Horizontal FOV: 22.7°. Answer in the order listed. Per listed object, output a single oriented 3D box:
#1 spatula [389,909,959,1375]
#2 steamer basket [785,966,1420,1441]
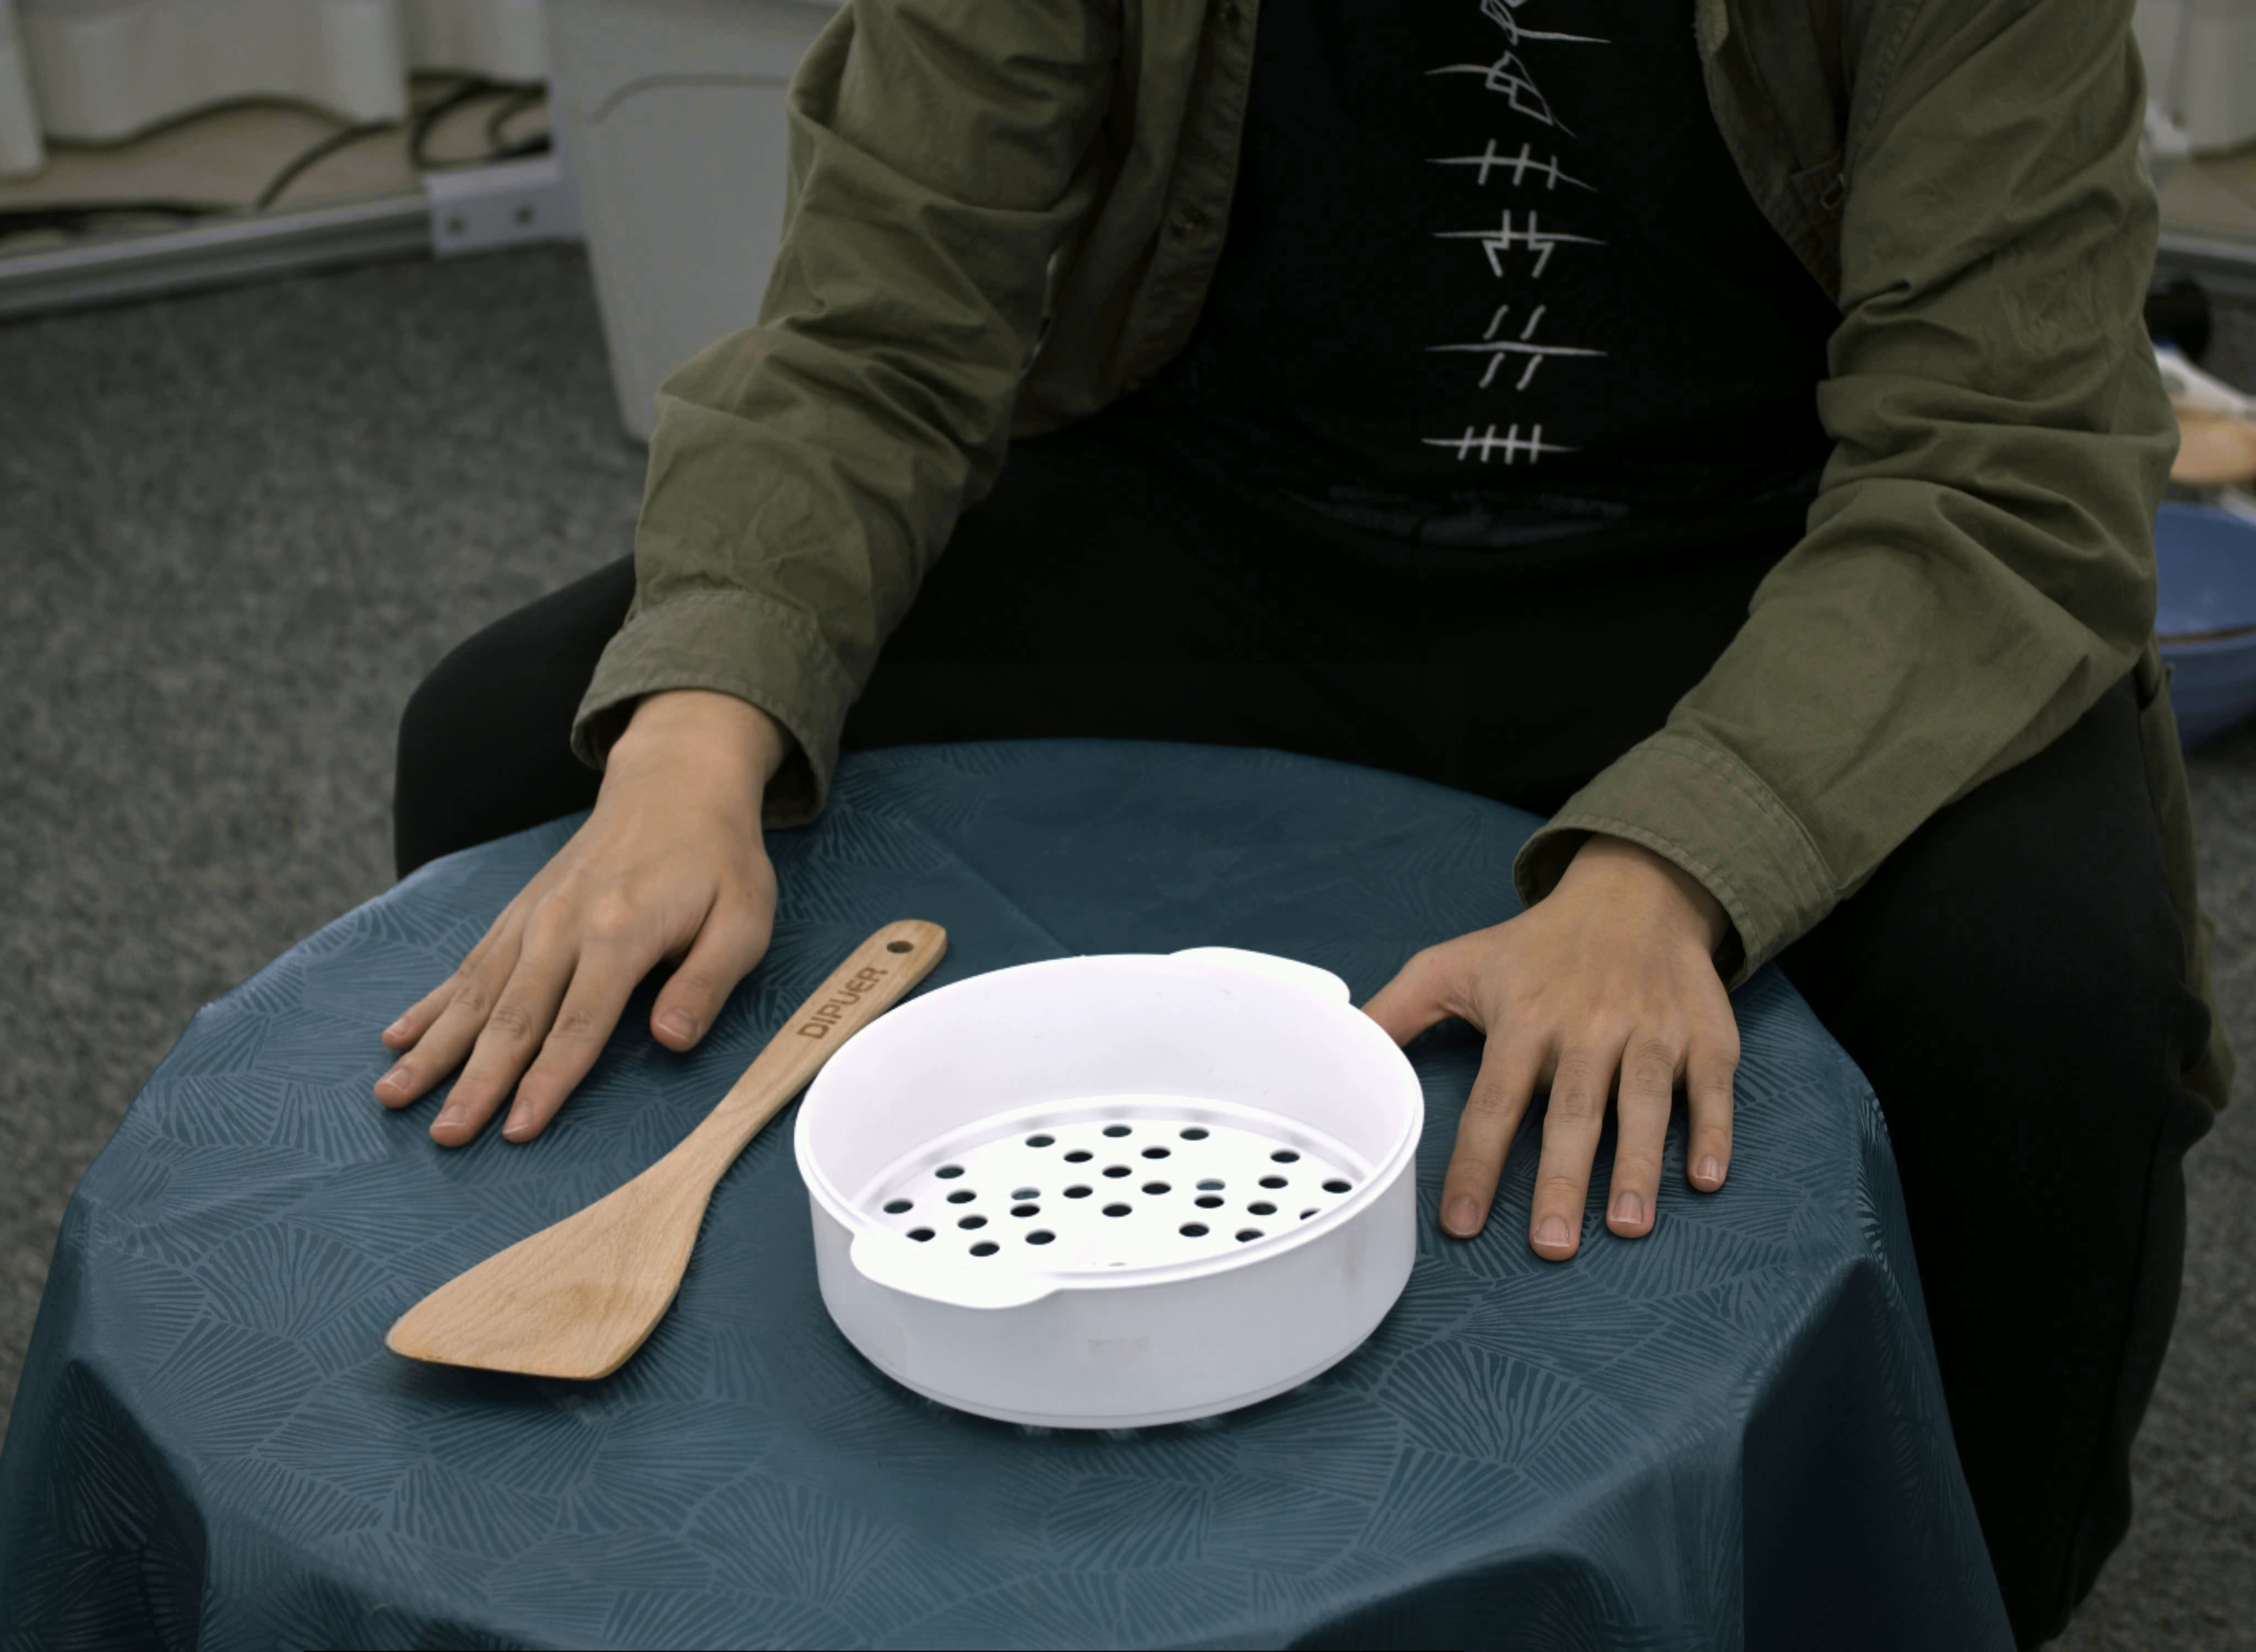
[{"bbox_3d":[-0.134,0.102,1.889,0.079,0.016,0.333,10,30,22],"label":"spatula"},{"bbox_3d":[-0.008,0.121,1.789,0.201,0.068,0.234,13,30,27],"label":"steamer basket"}]
